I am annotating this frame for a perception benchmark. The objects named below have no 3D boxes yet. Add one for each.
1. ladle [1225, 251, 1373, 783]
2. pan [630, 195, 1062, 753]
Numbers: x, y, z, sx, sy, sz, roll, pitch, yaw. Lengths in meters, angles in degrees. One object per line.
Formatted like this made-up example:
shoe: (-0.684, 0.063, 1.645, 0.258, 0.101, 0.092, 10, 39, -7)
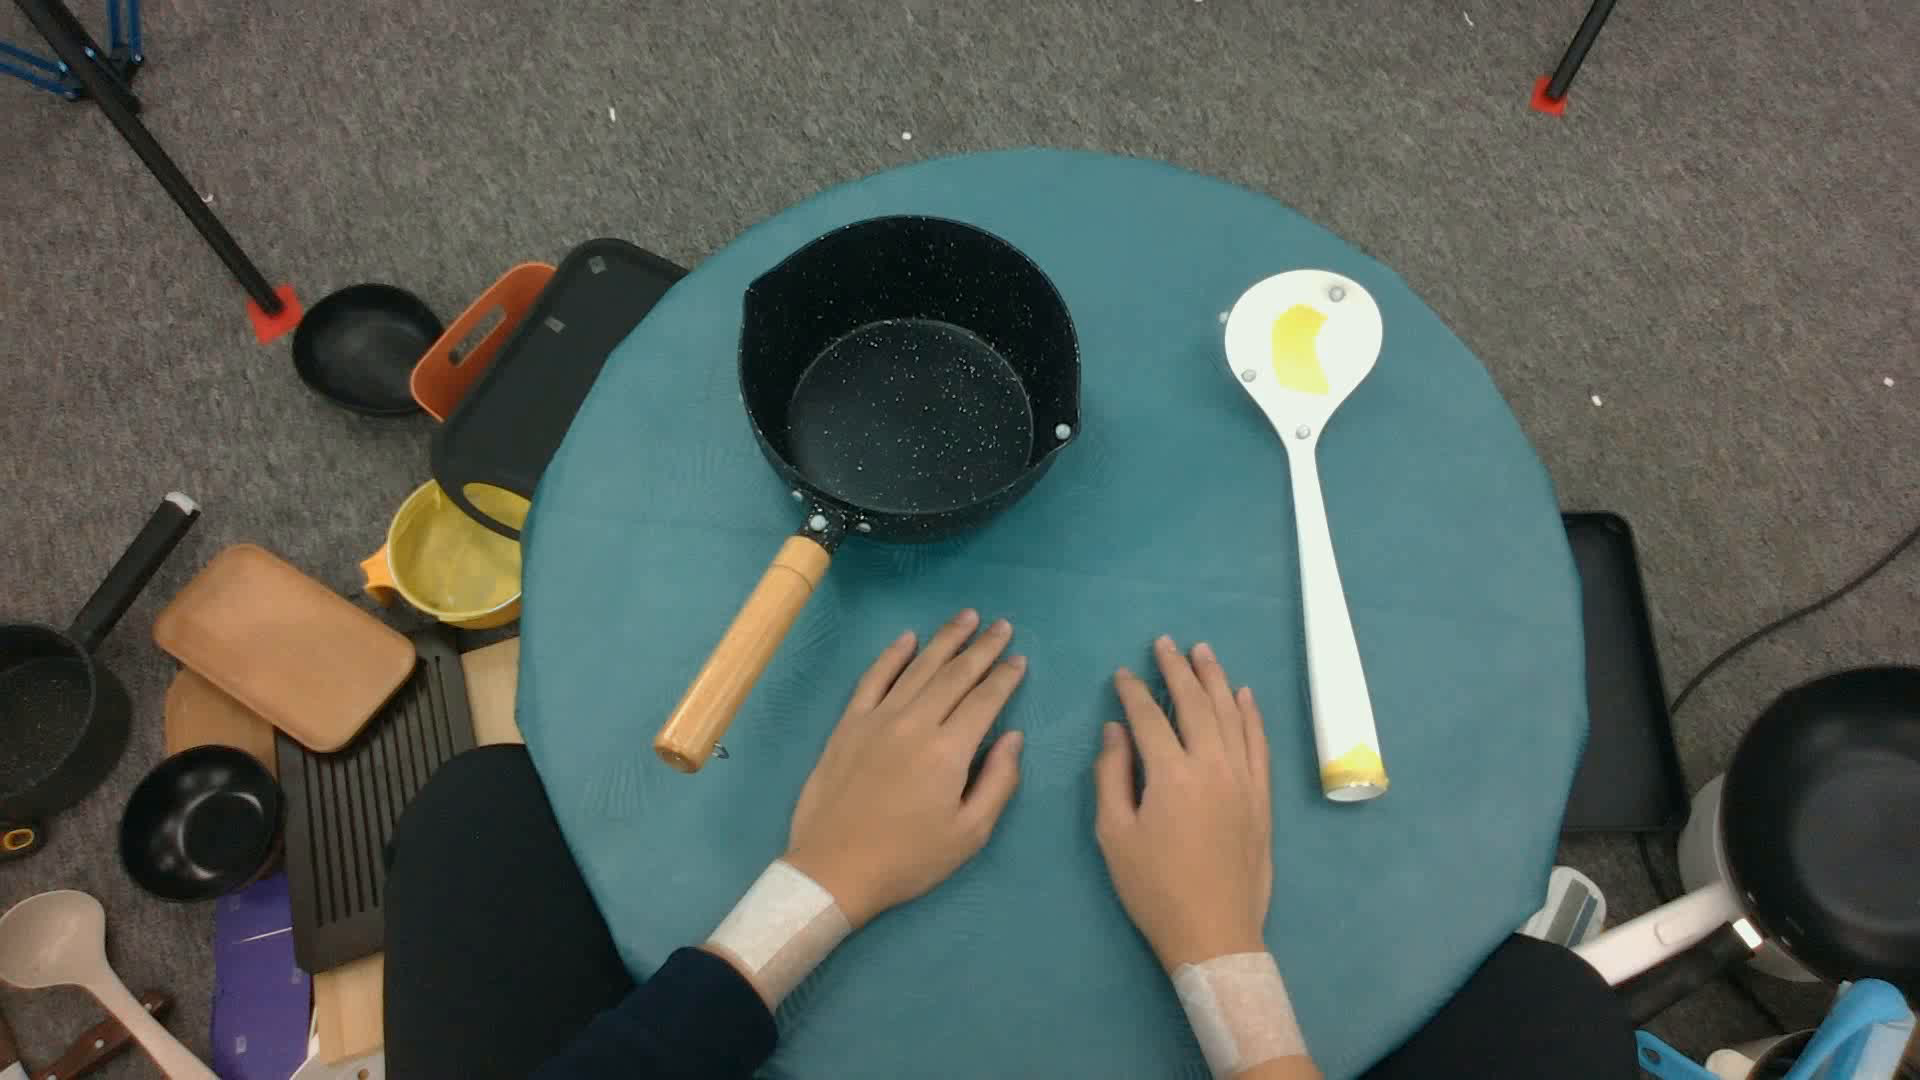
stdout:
ladle: (0.198, -0.017, 0.767, 0.090, 0.069, 0.294, 2, 68, -8)
pan: (-0.071, -0.029, 0.735, 0.207, 0.108, 0.344, 23, 67, 6)
